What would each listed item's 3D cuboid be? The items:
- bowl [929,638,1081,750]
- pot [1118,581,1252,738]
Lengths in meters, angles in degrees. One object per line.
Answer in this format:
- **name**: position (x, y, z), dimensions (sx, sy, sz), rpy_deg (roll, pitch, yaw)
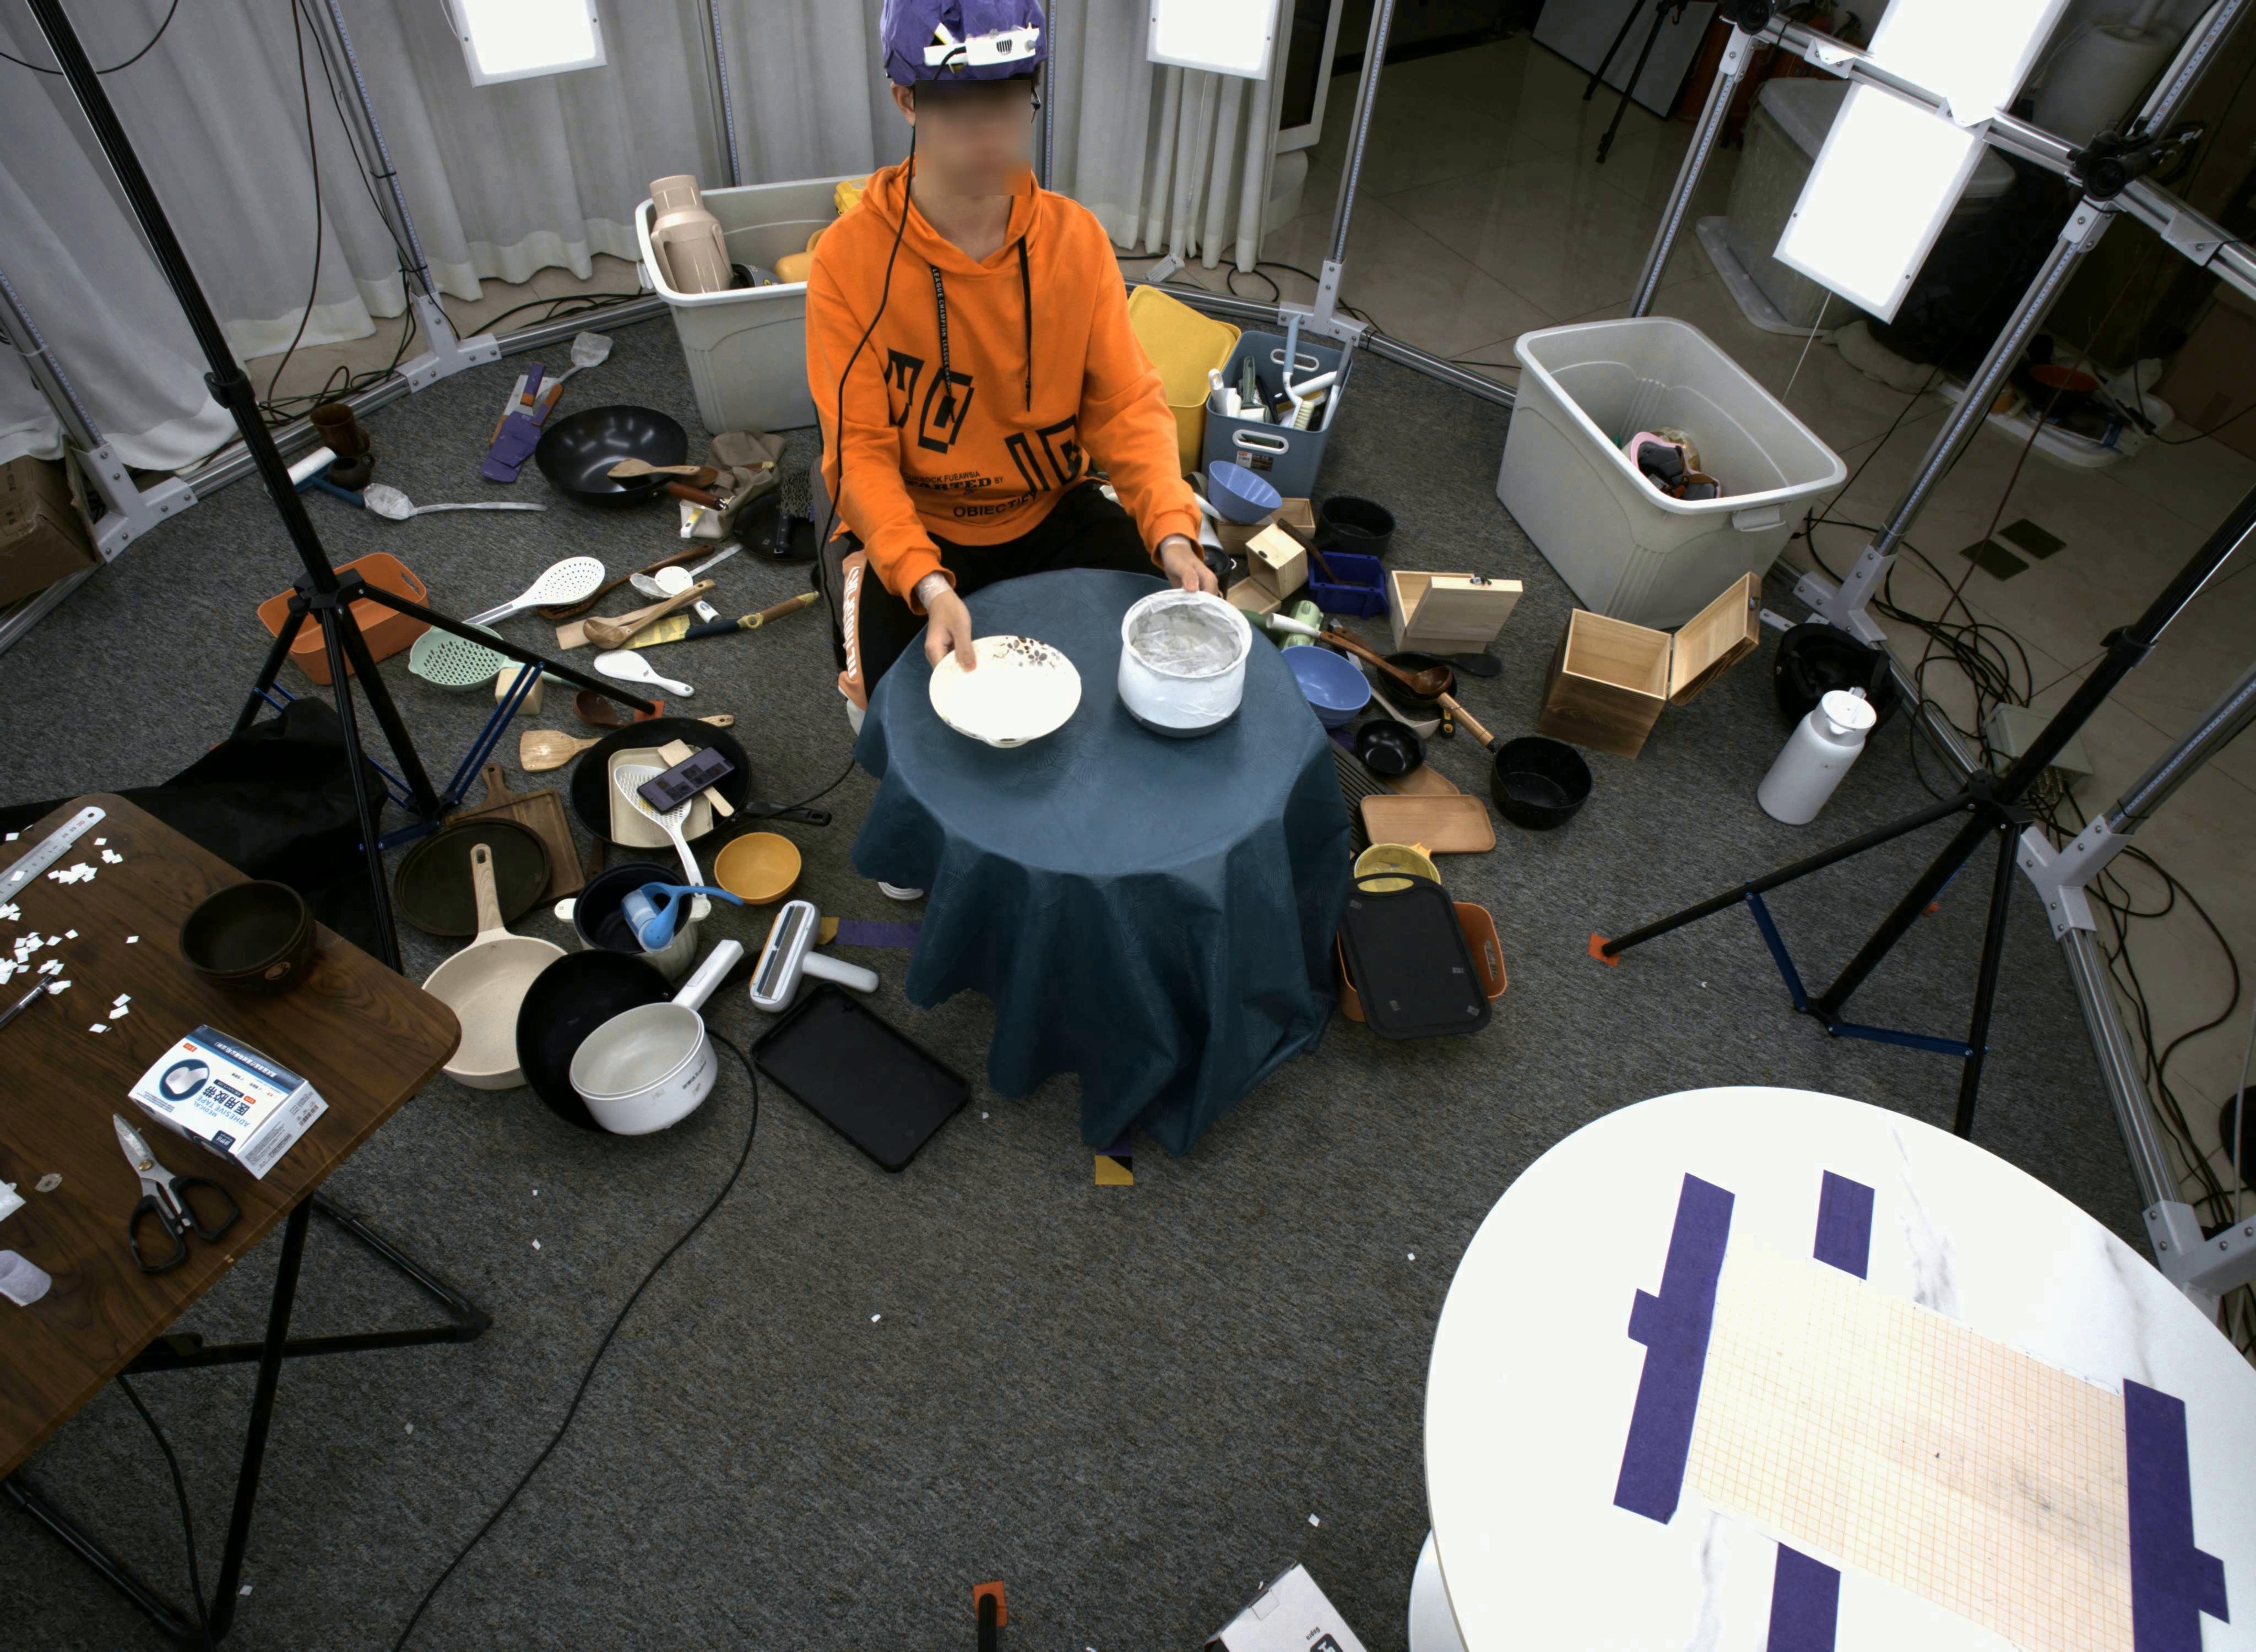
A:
- **bowl**: position (-0.166, -0.162, 1.749), dimensions (0.204, 0.076, 0.209), rpy_deg (1, 47, -2)
- **pot**: position (0.077, -0.243, 1.796), dimensions (0.178, 0.133, 0.239), rpy_deg (5, 49, 0)
